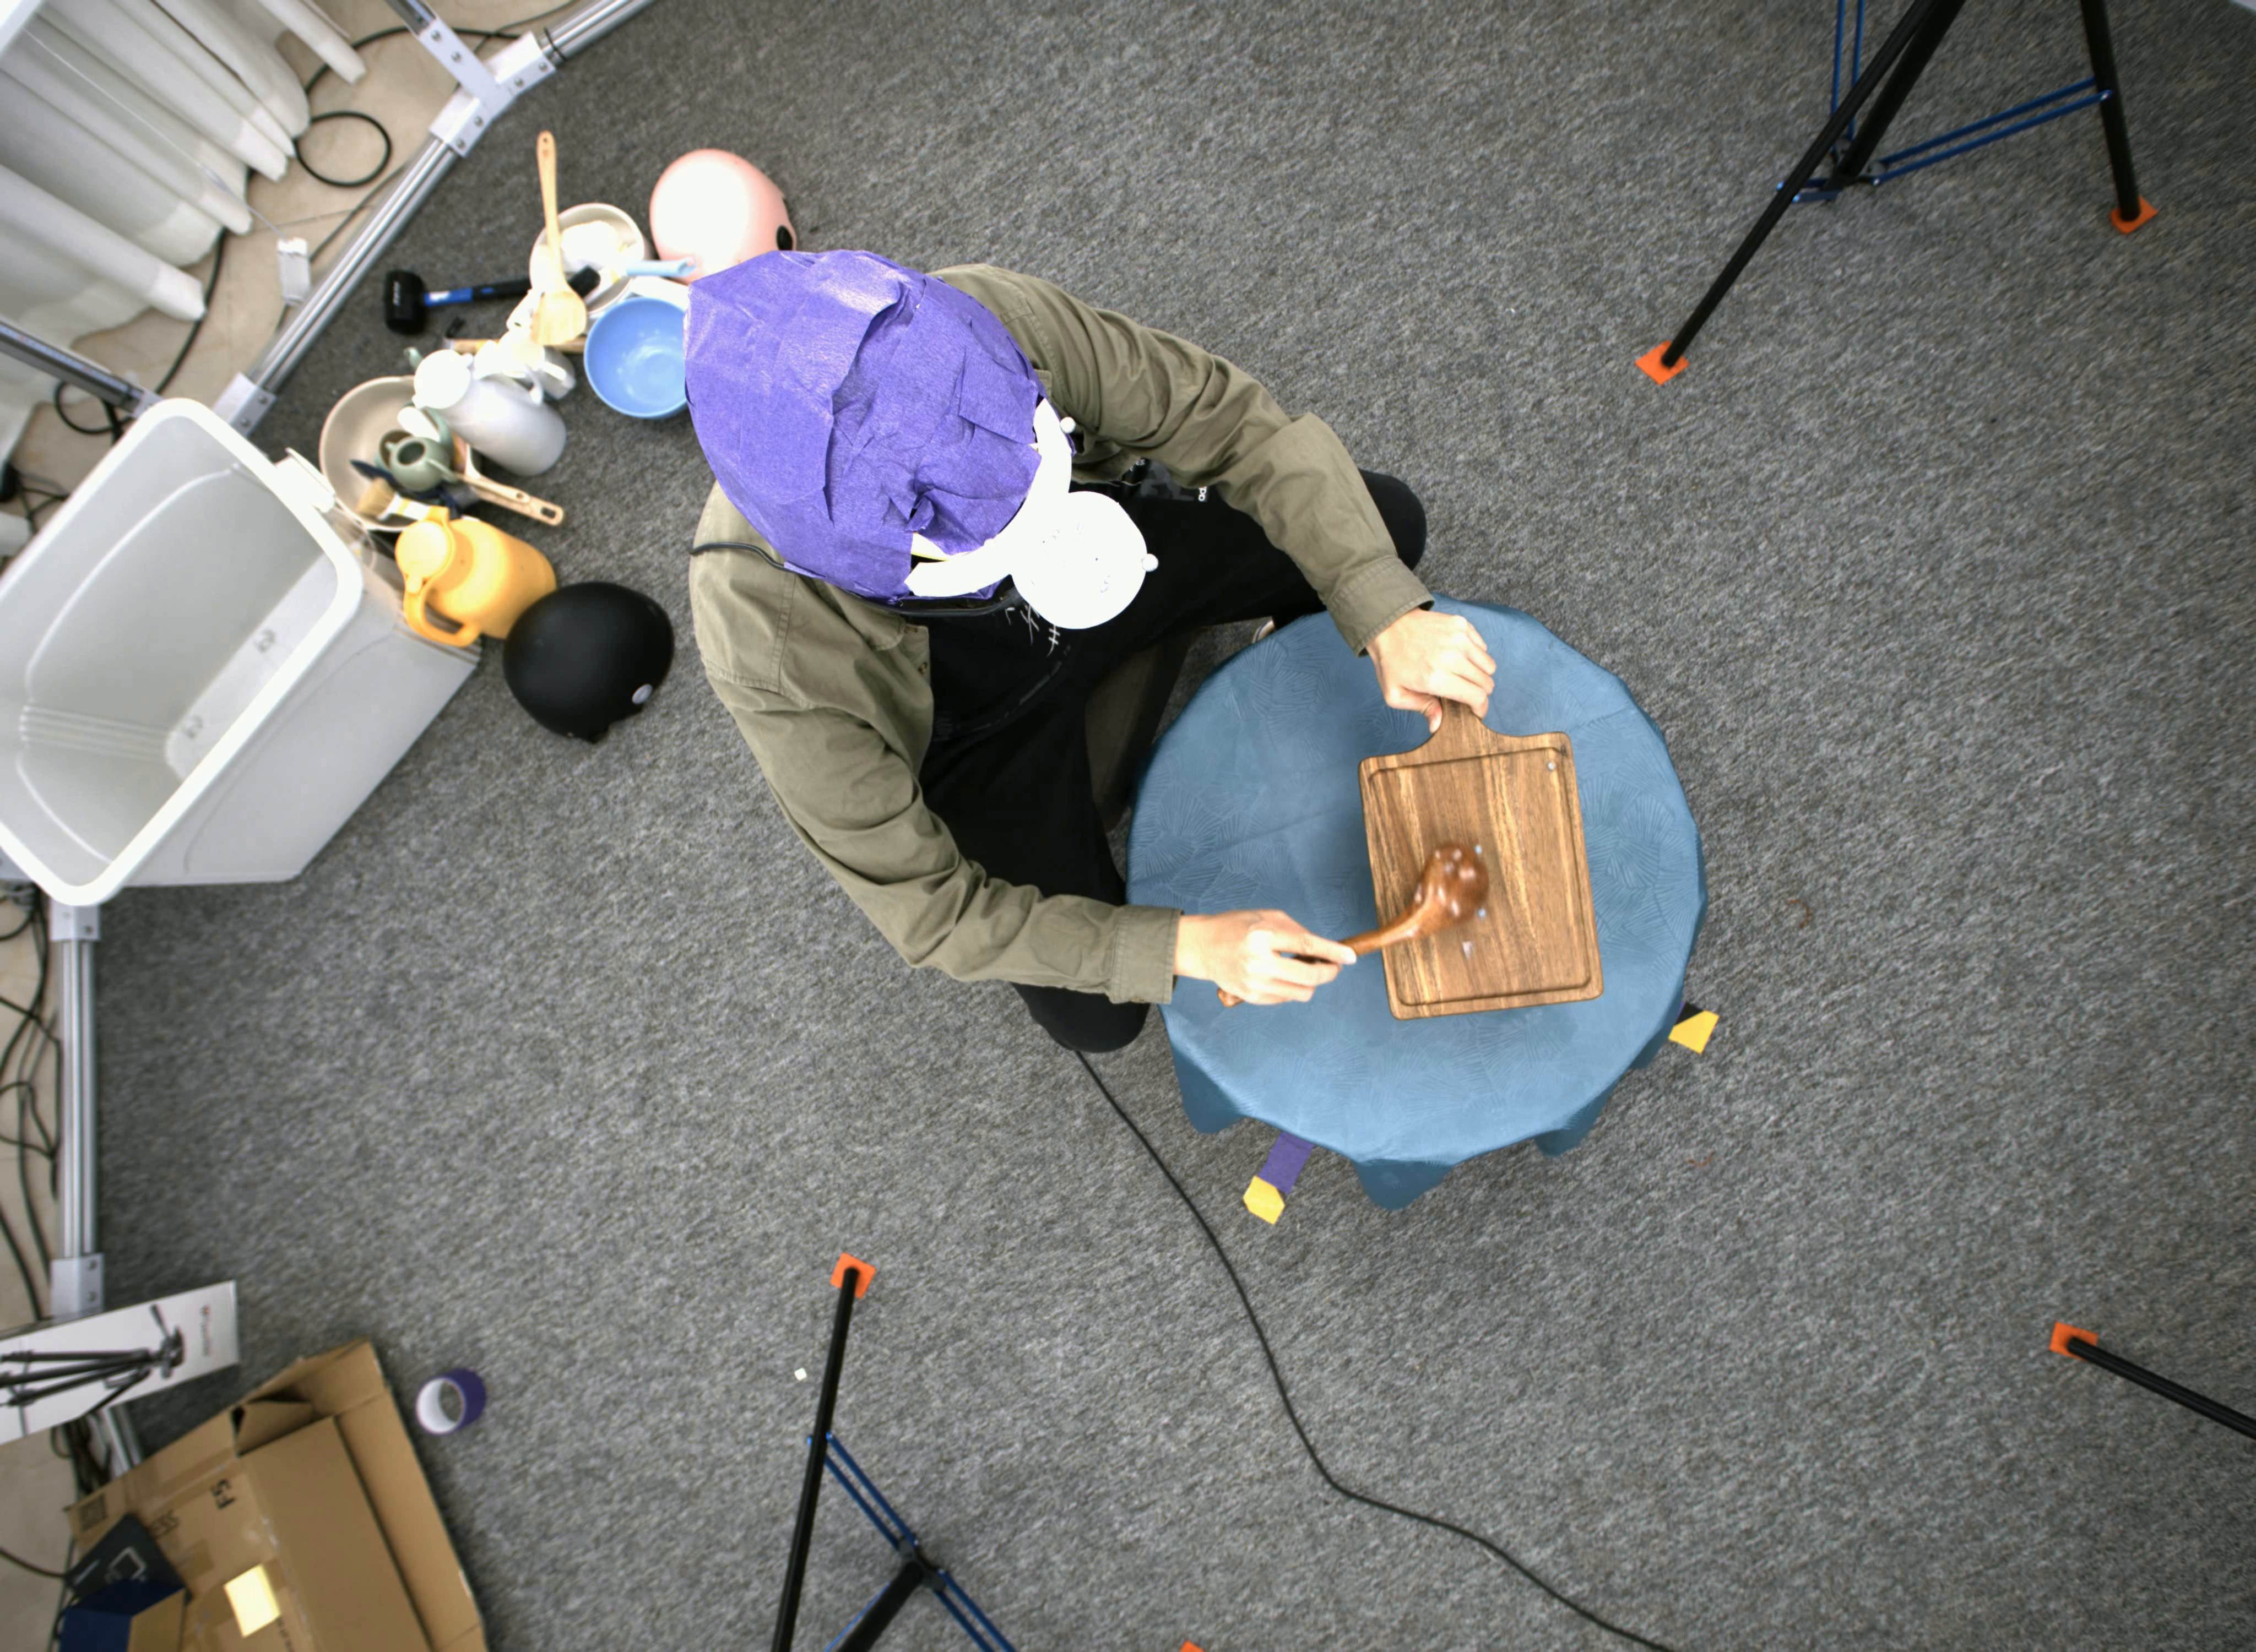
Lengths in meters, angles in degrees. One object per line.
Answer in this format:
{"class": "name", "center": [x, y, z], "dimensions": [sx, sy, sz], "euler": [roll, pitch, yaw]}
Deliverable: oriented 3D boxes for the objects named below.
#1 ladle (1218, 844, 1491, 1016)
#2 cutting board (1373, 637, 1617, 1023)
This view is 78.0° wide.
{"class": "ladle", "center": [0.204, 0.096, 1.274], "dimensions": [0.278, 0.074, 0.083], "euler": [-24, 122, 25]}
{"class": "cutting board", "center": [0.334, -0.001, 1.273], "dimensions": [0.202, 0.023, 0.353], "euler": [-6, 93, 11]}
